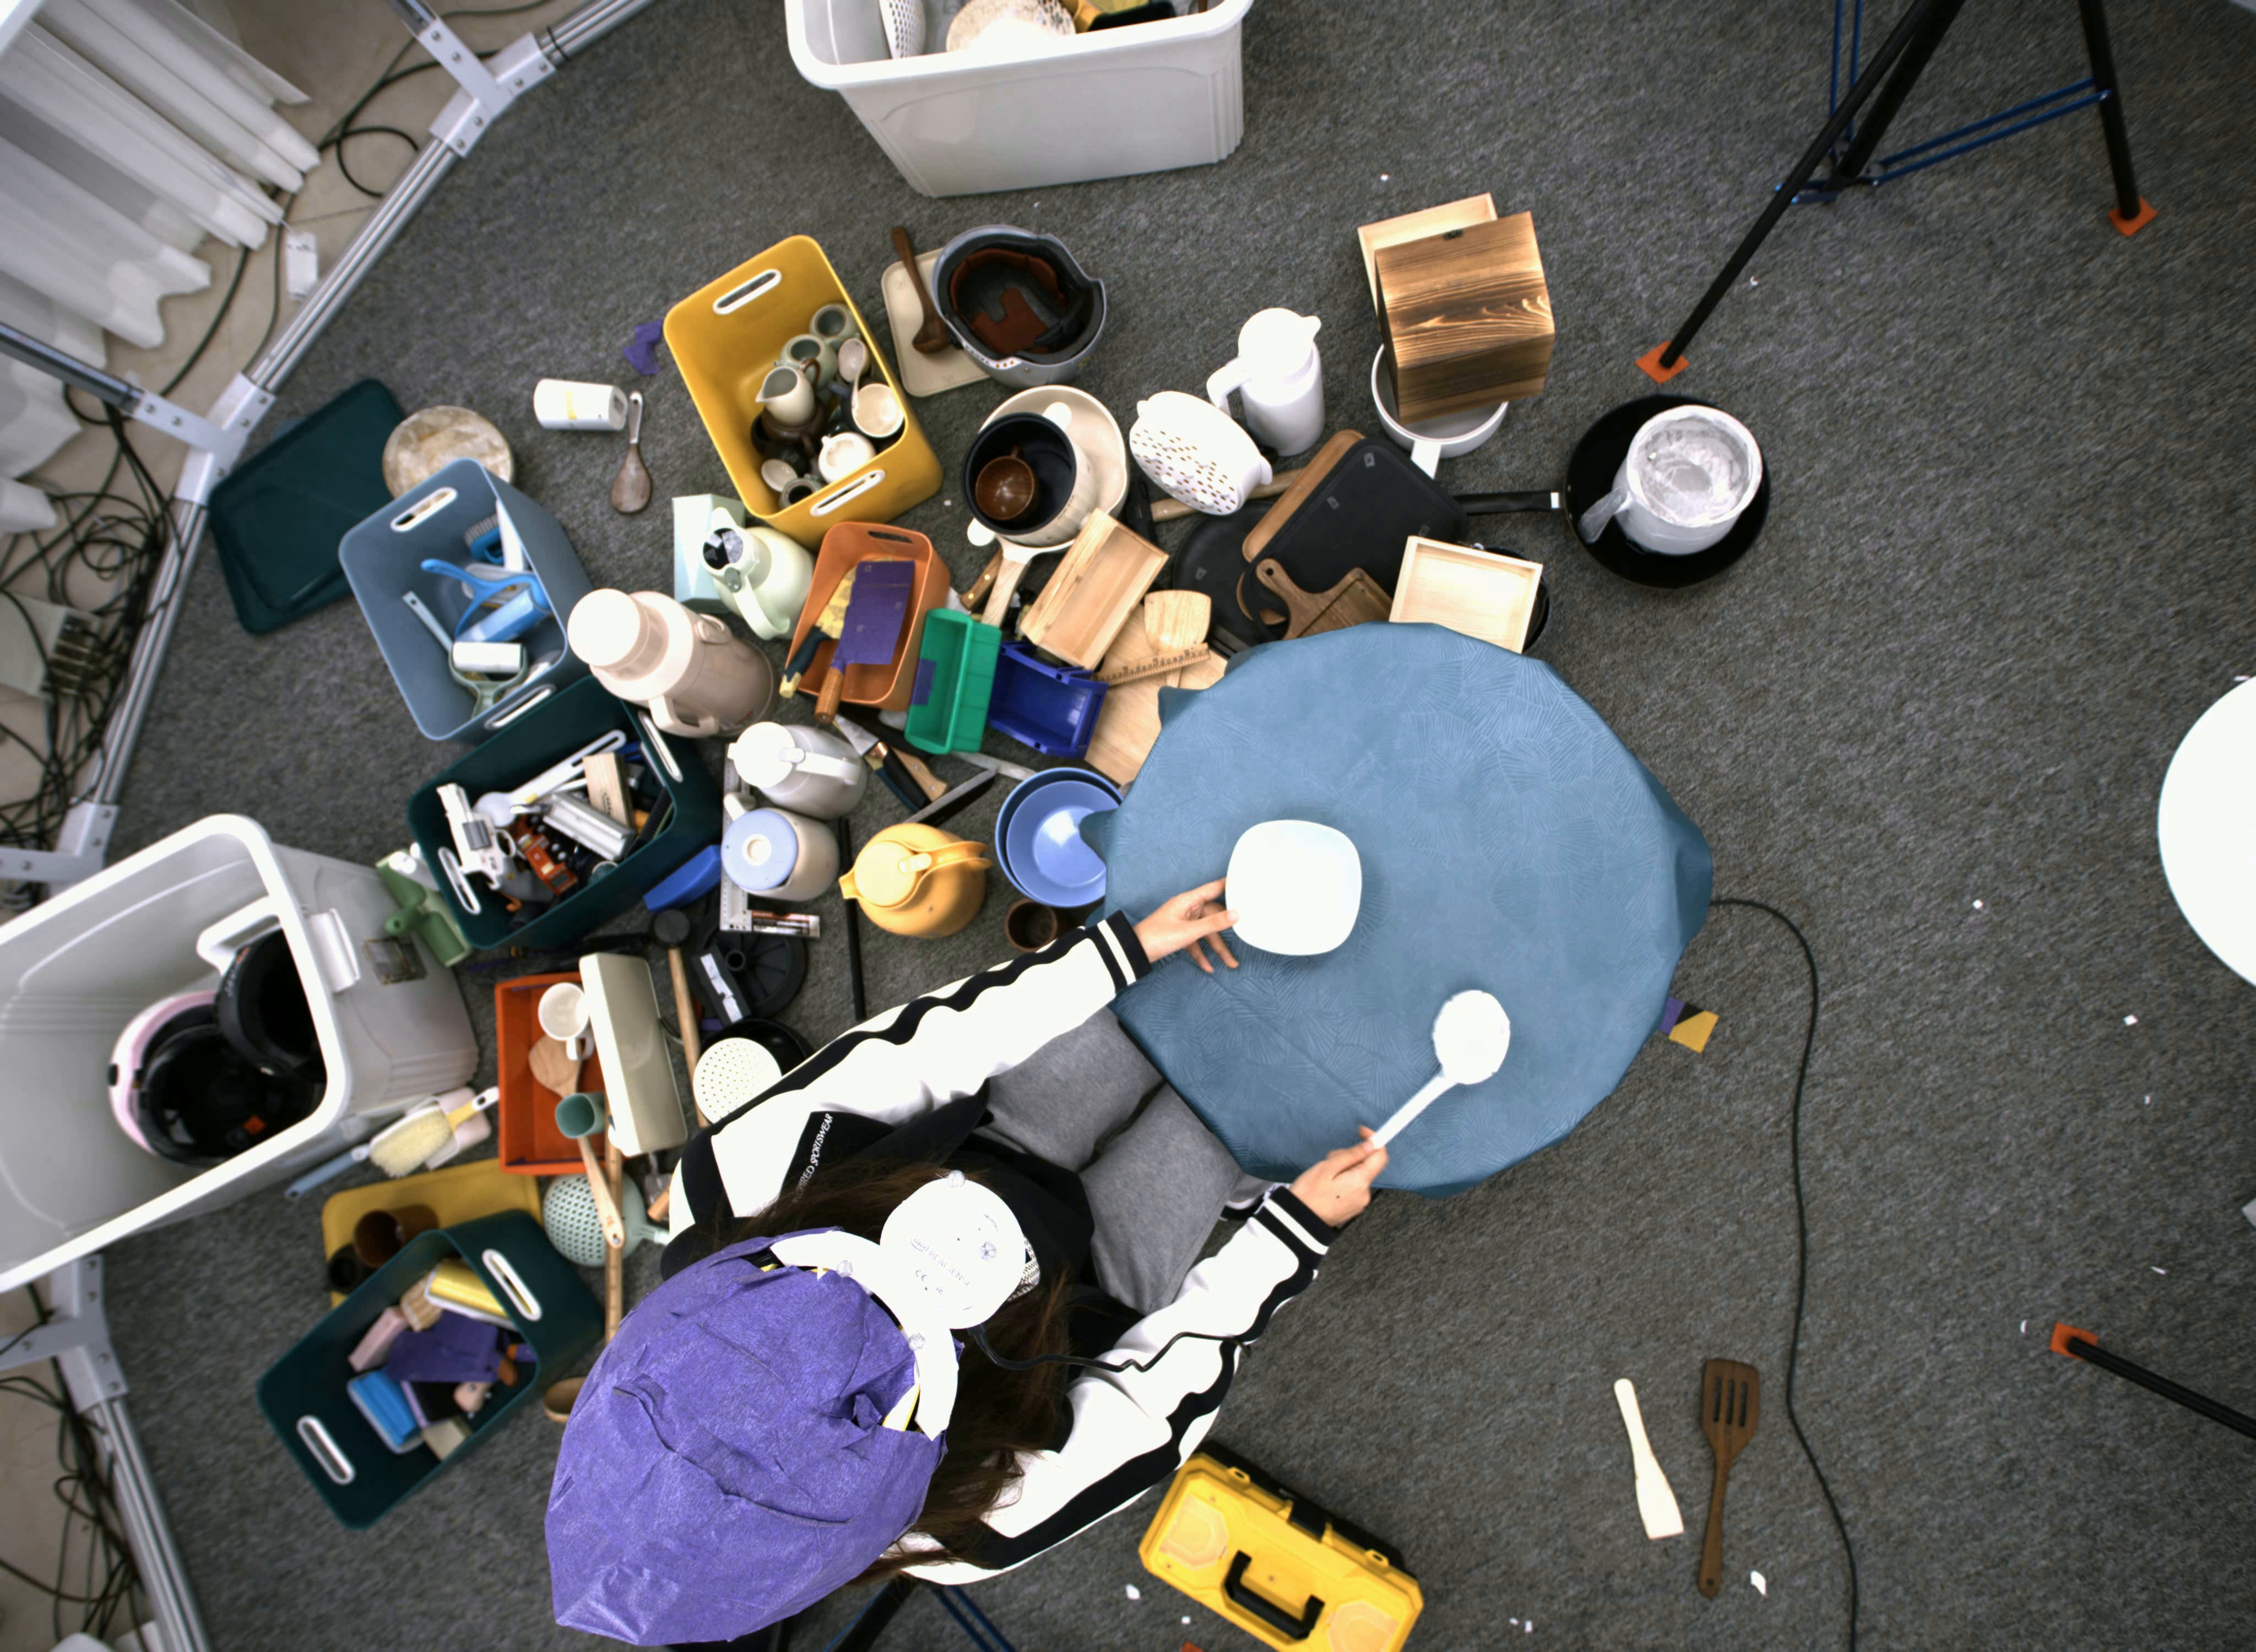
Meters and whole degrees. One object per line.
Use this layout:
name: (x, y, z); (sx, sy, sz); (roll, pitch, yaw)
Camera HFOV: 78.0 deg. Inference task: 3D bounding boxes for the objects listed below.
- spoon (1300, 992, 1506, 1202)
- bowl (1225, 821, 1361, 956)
spoon: (0.271, 0.273, 1.400); (0.277, 0.099, 0.060); (-38, 120, 1)
bowl: (0.174, 0.066, 1.452); (0.152, 0.058, 0.151); (-1, 86, 11)
